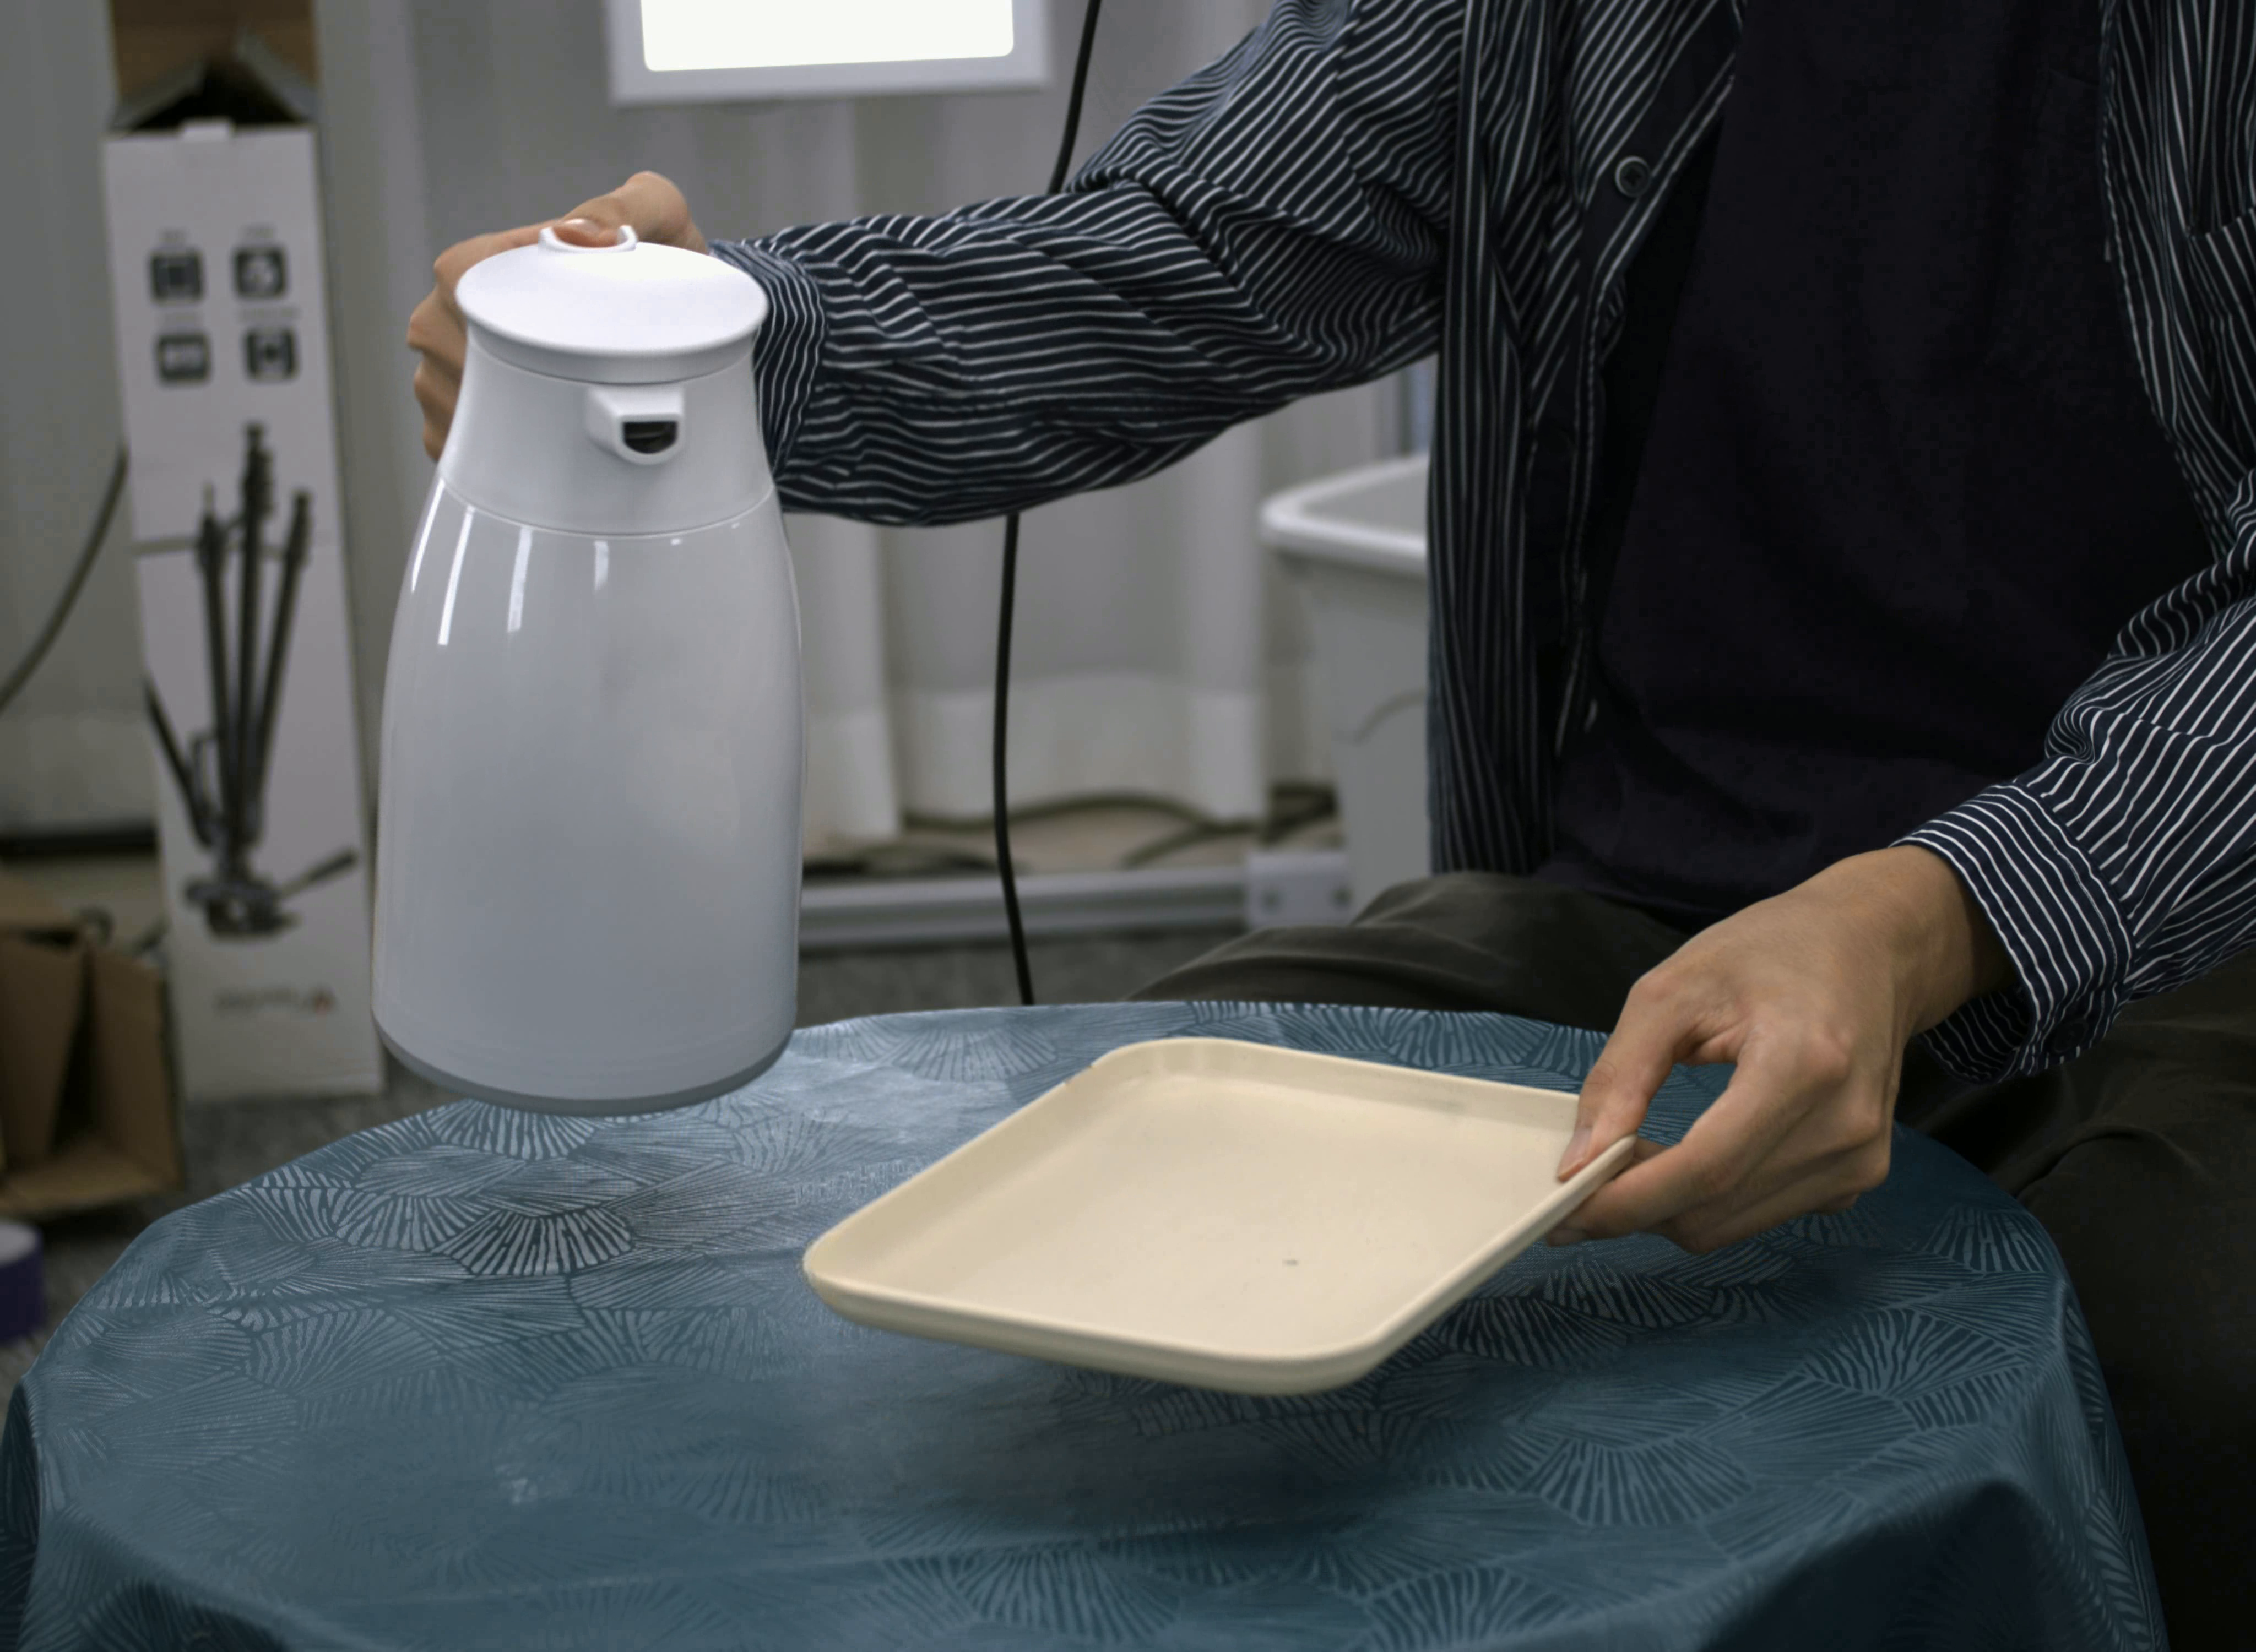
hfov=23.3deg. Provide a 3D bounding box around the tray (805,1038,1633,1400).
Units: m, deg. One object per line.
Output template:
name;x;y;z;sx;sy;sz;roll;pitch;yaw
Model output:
tray;0.029;0.108;1.530;0.171;0.017;0.240;8;17;25

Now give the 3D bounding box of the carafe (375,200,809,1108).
carafe;-0.167;-0.062;1.671;0.132;0.247;0.170;-6;26;-20
